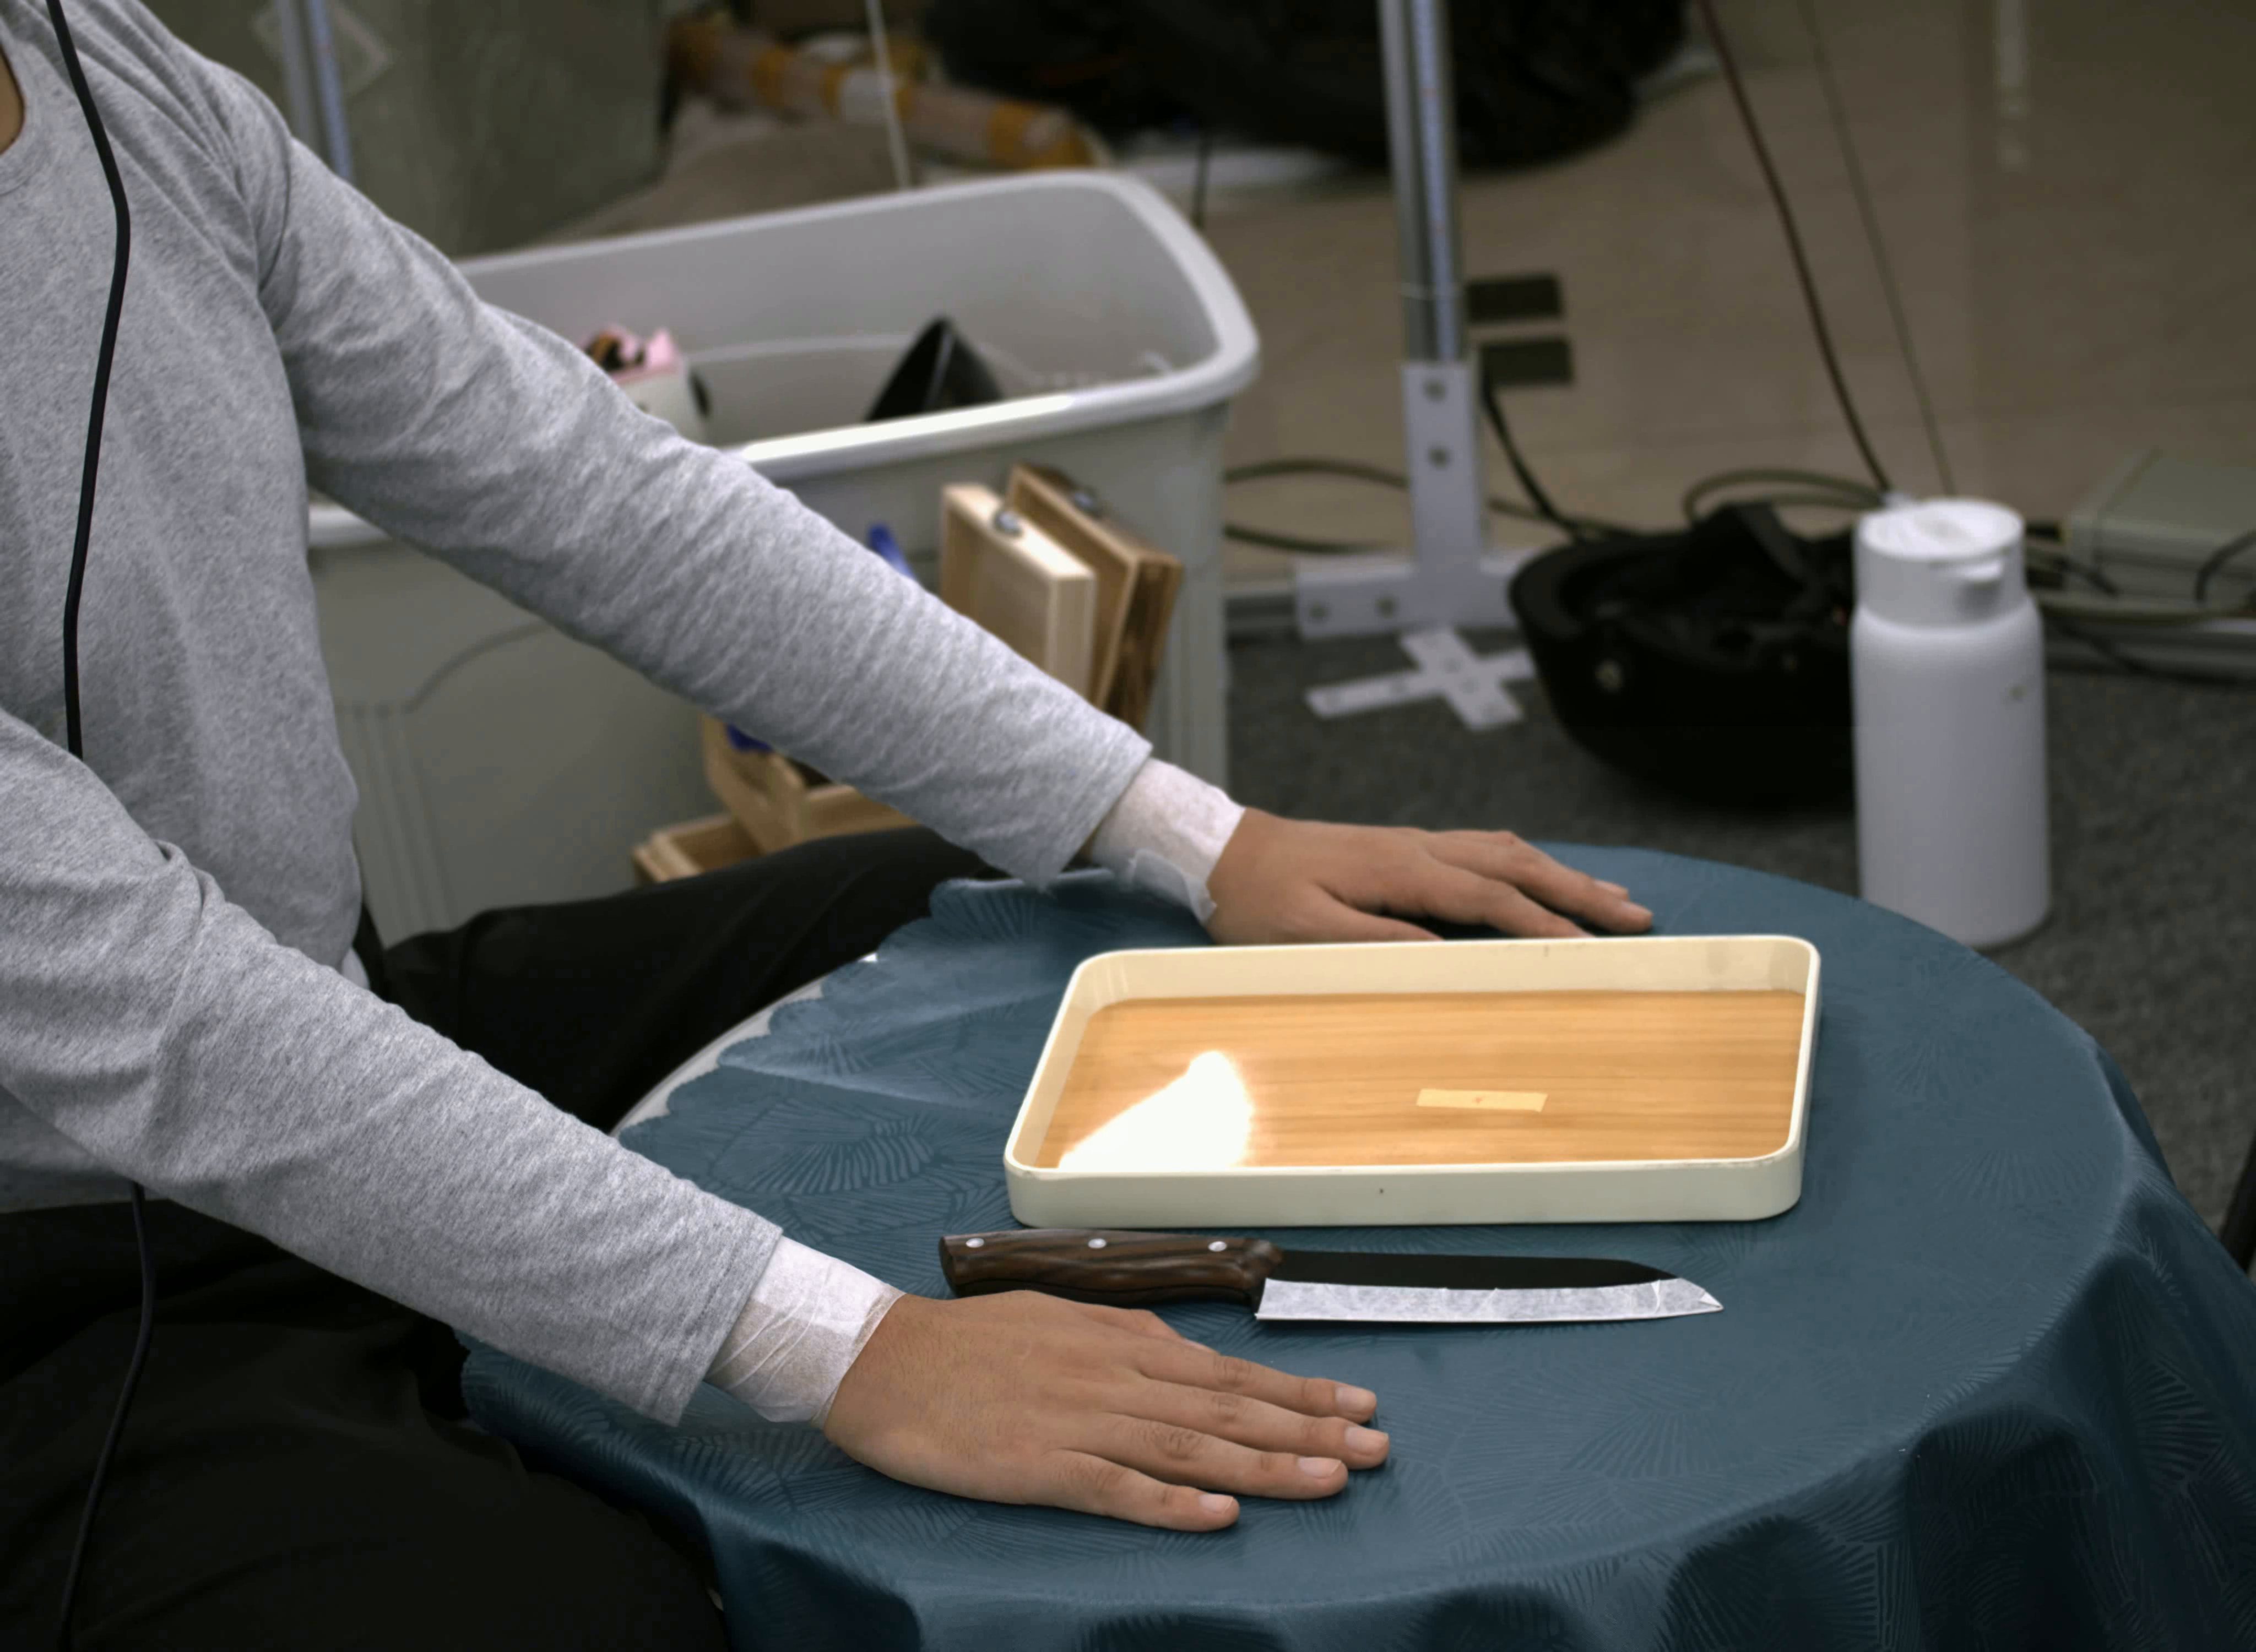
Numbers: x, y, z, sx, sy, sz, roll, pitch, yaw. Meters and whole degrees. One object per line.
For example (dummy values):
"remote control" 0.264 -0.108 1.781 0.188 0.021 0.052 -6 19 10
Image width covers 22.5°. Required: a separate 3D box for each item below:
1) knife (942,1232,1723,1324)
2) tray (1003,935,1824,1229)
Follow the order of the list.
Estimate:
"knife" 0.072 0.166 2.059 0.288 0.020 0.049 1 31 12
"tray" 0.113 0.098 2.181 0.300 0.028 0.189 -2 25 11
